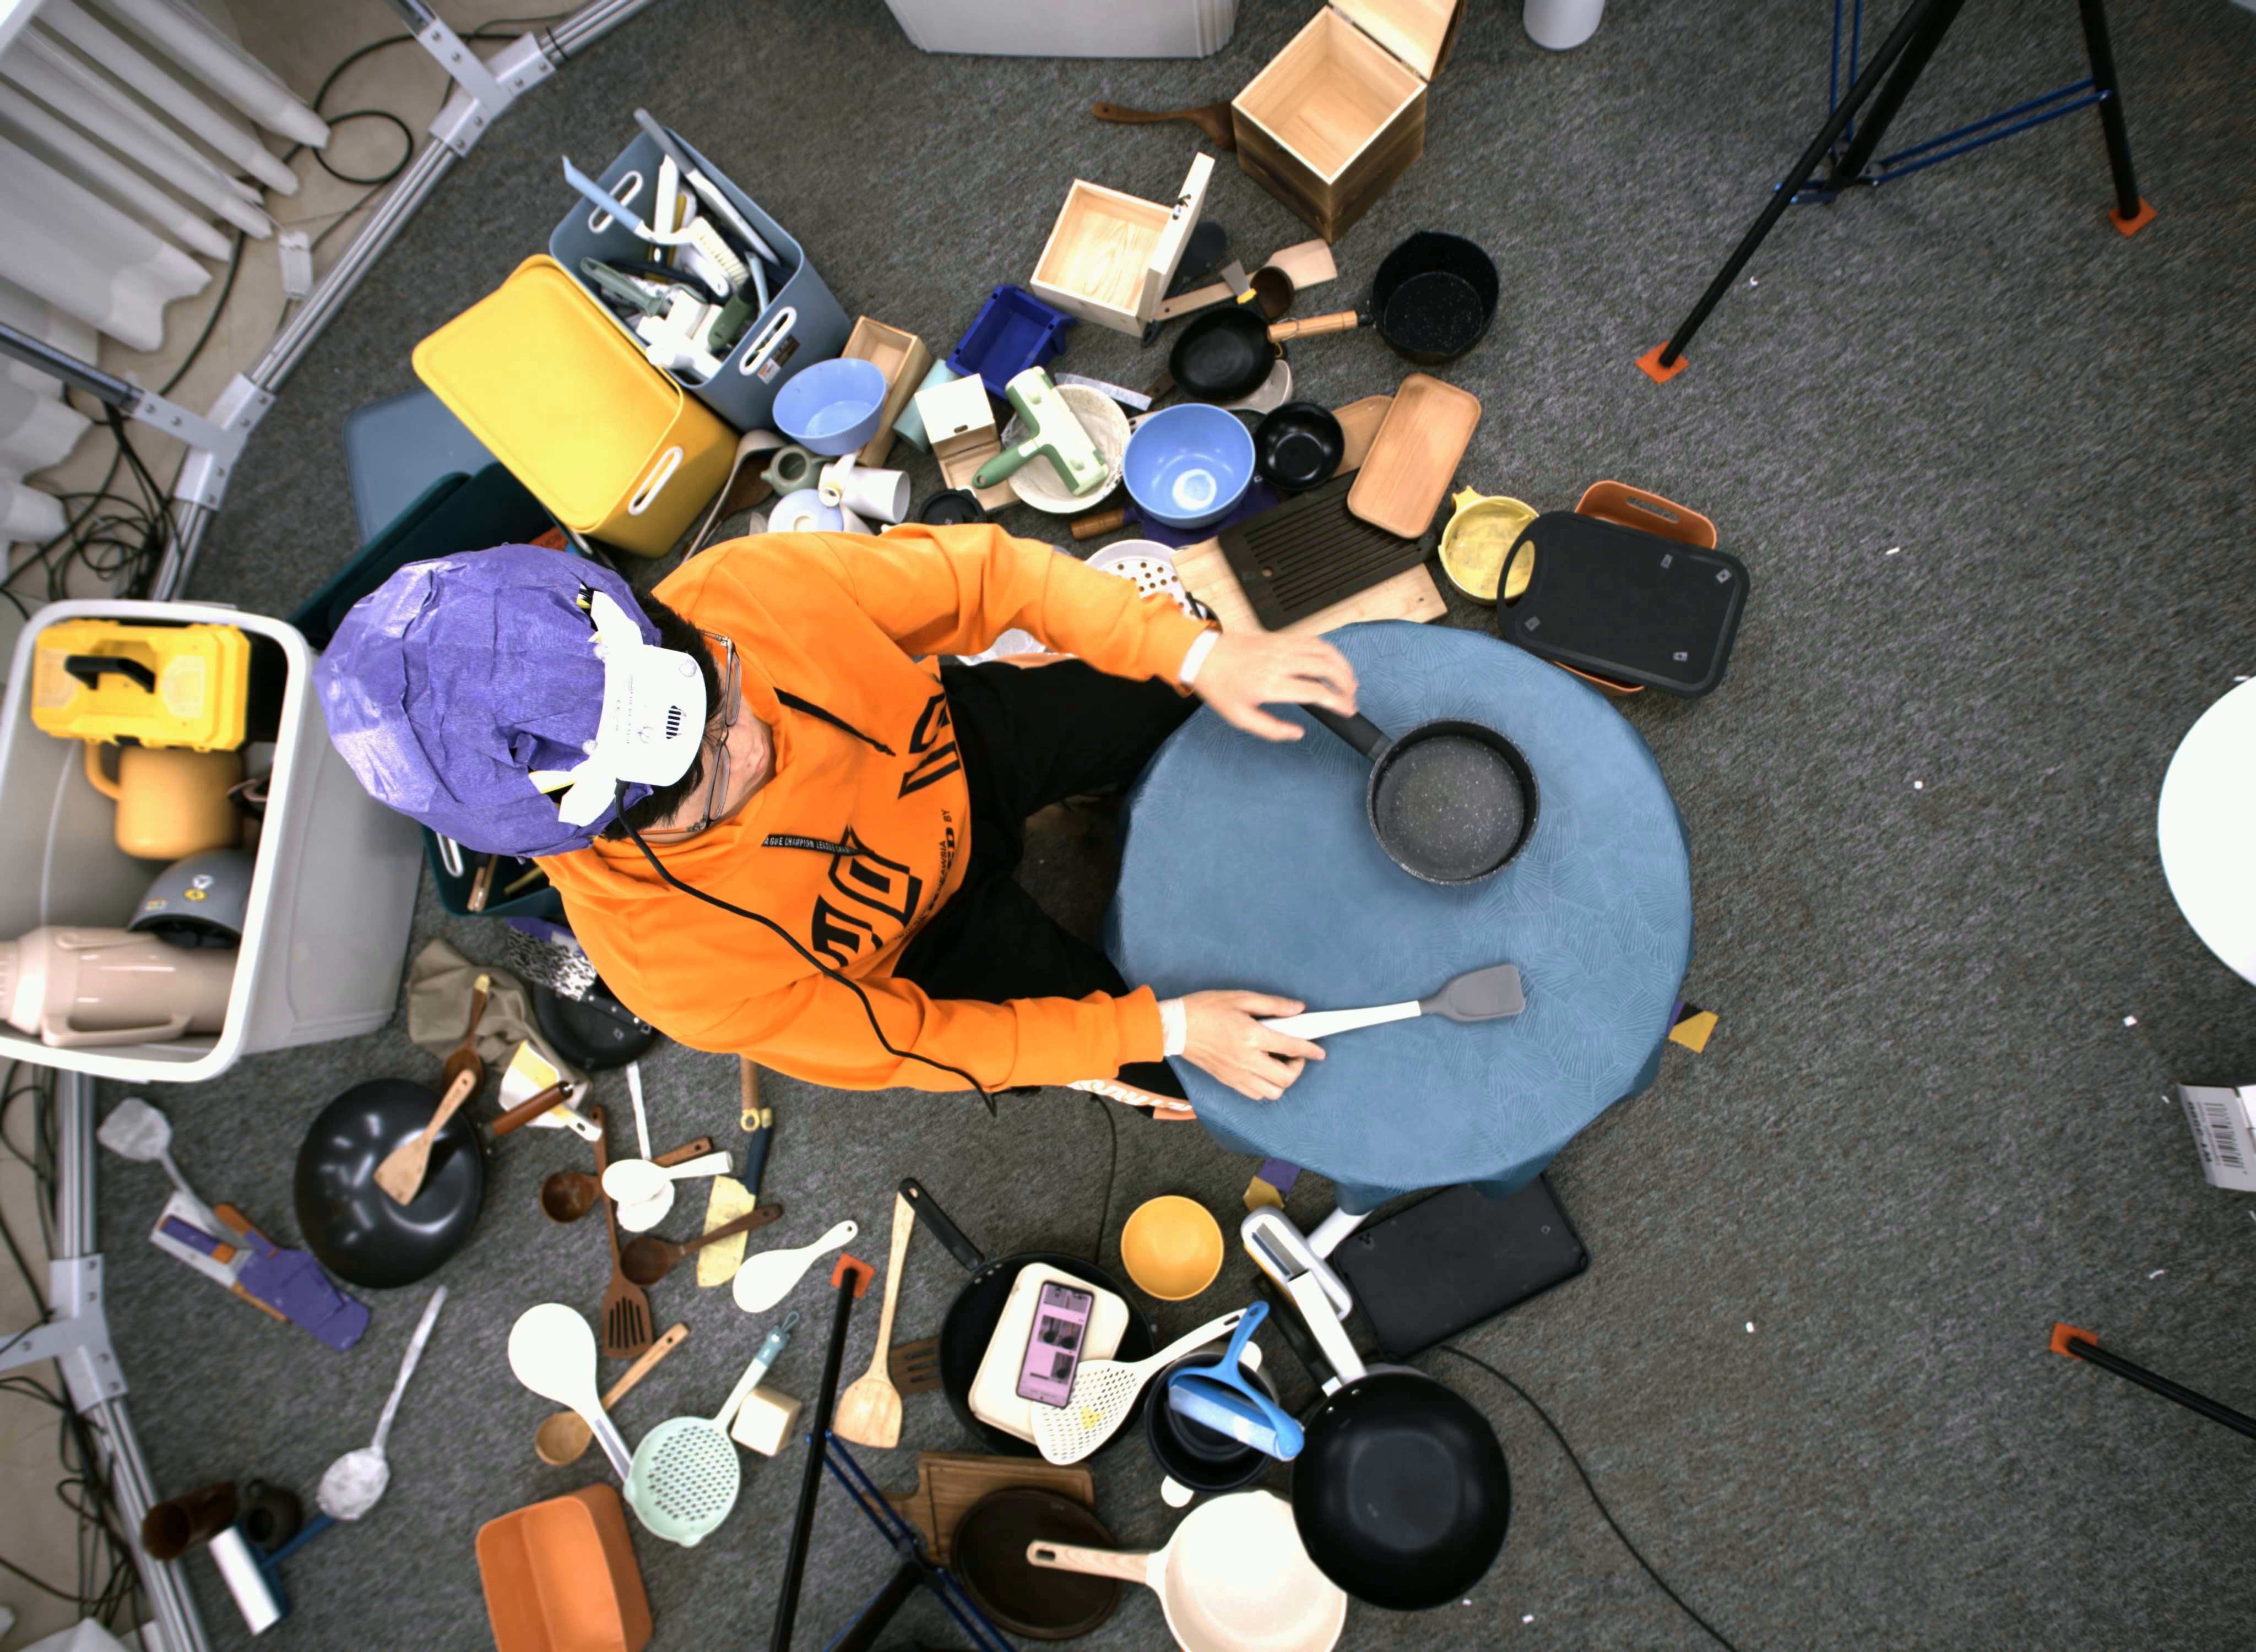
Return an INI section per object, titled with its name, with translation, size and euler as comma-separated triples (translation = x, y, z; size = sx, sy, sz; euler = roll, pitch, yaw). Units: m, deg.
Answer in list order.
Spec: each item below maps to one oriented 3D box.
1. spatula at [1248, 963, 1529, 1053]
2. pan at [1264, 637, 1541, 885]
[spatula]
translation = 0.269, 0.193, 1.436
size = 0.289, 0.032, 0.057
euler = -12, 67, 10
[pan]
translation = 0.273, -0.075, 1.425
size = 0.327, 0.086, 0.172
euler = 41, 93, 8
